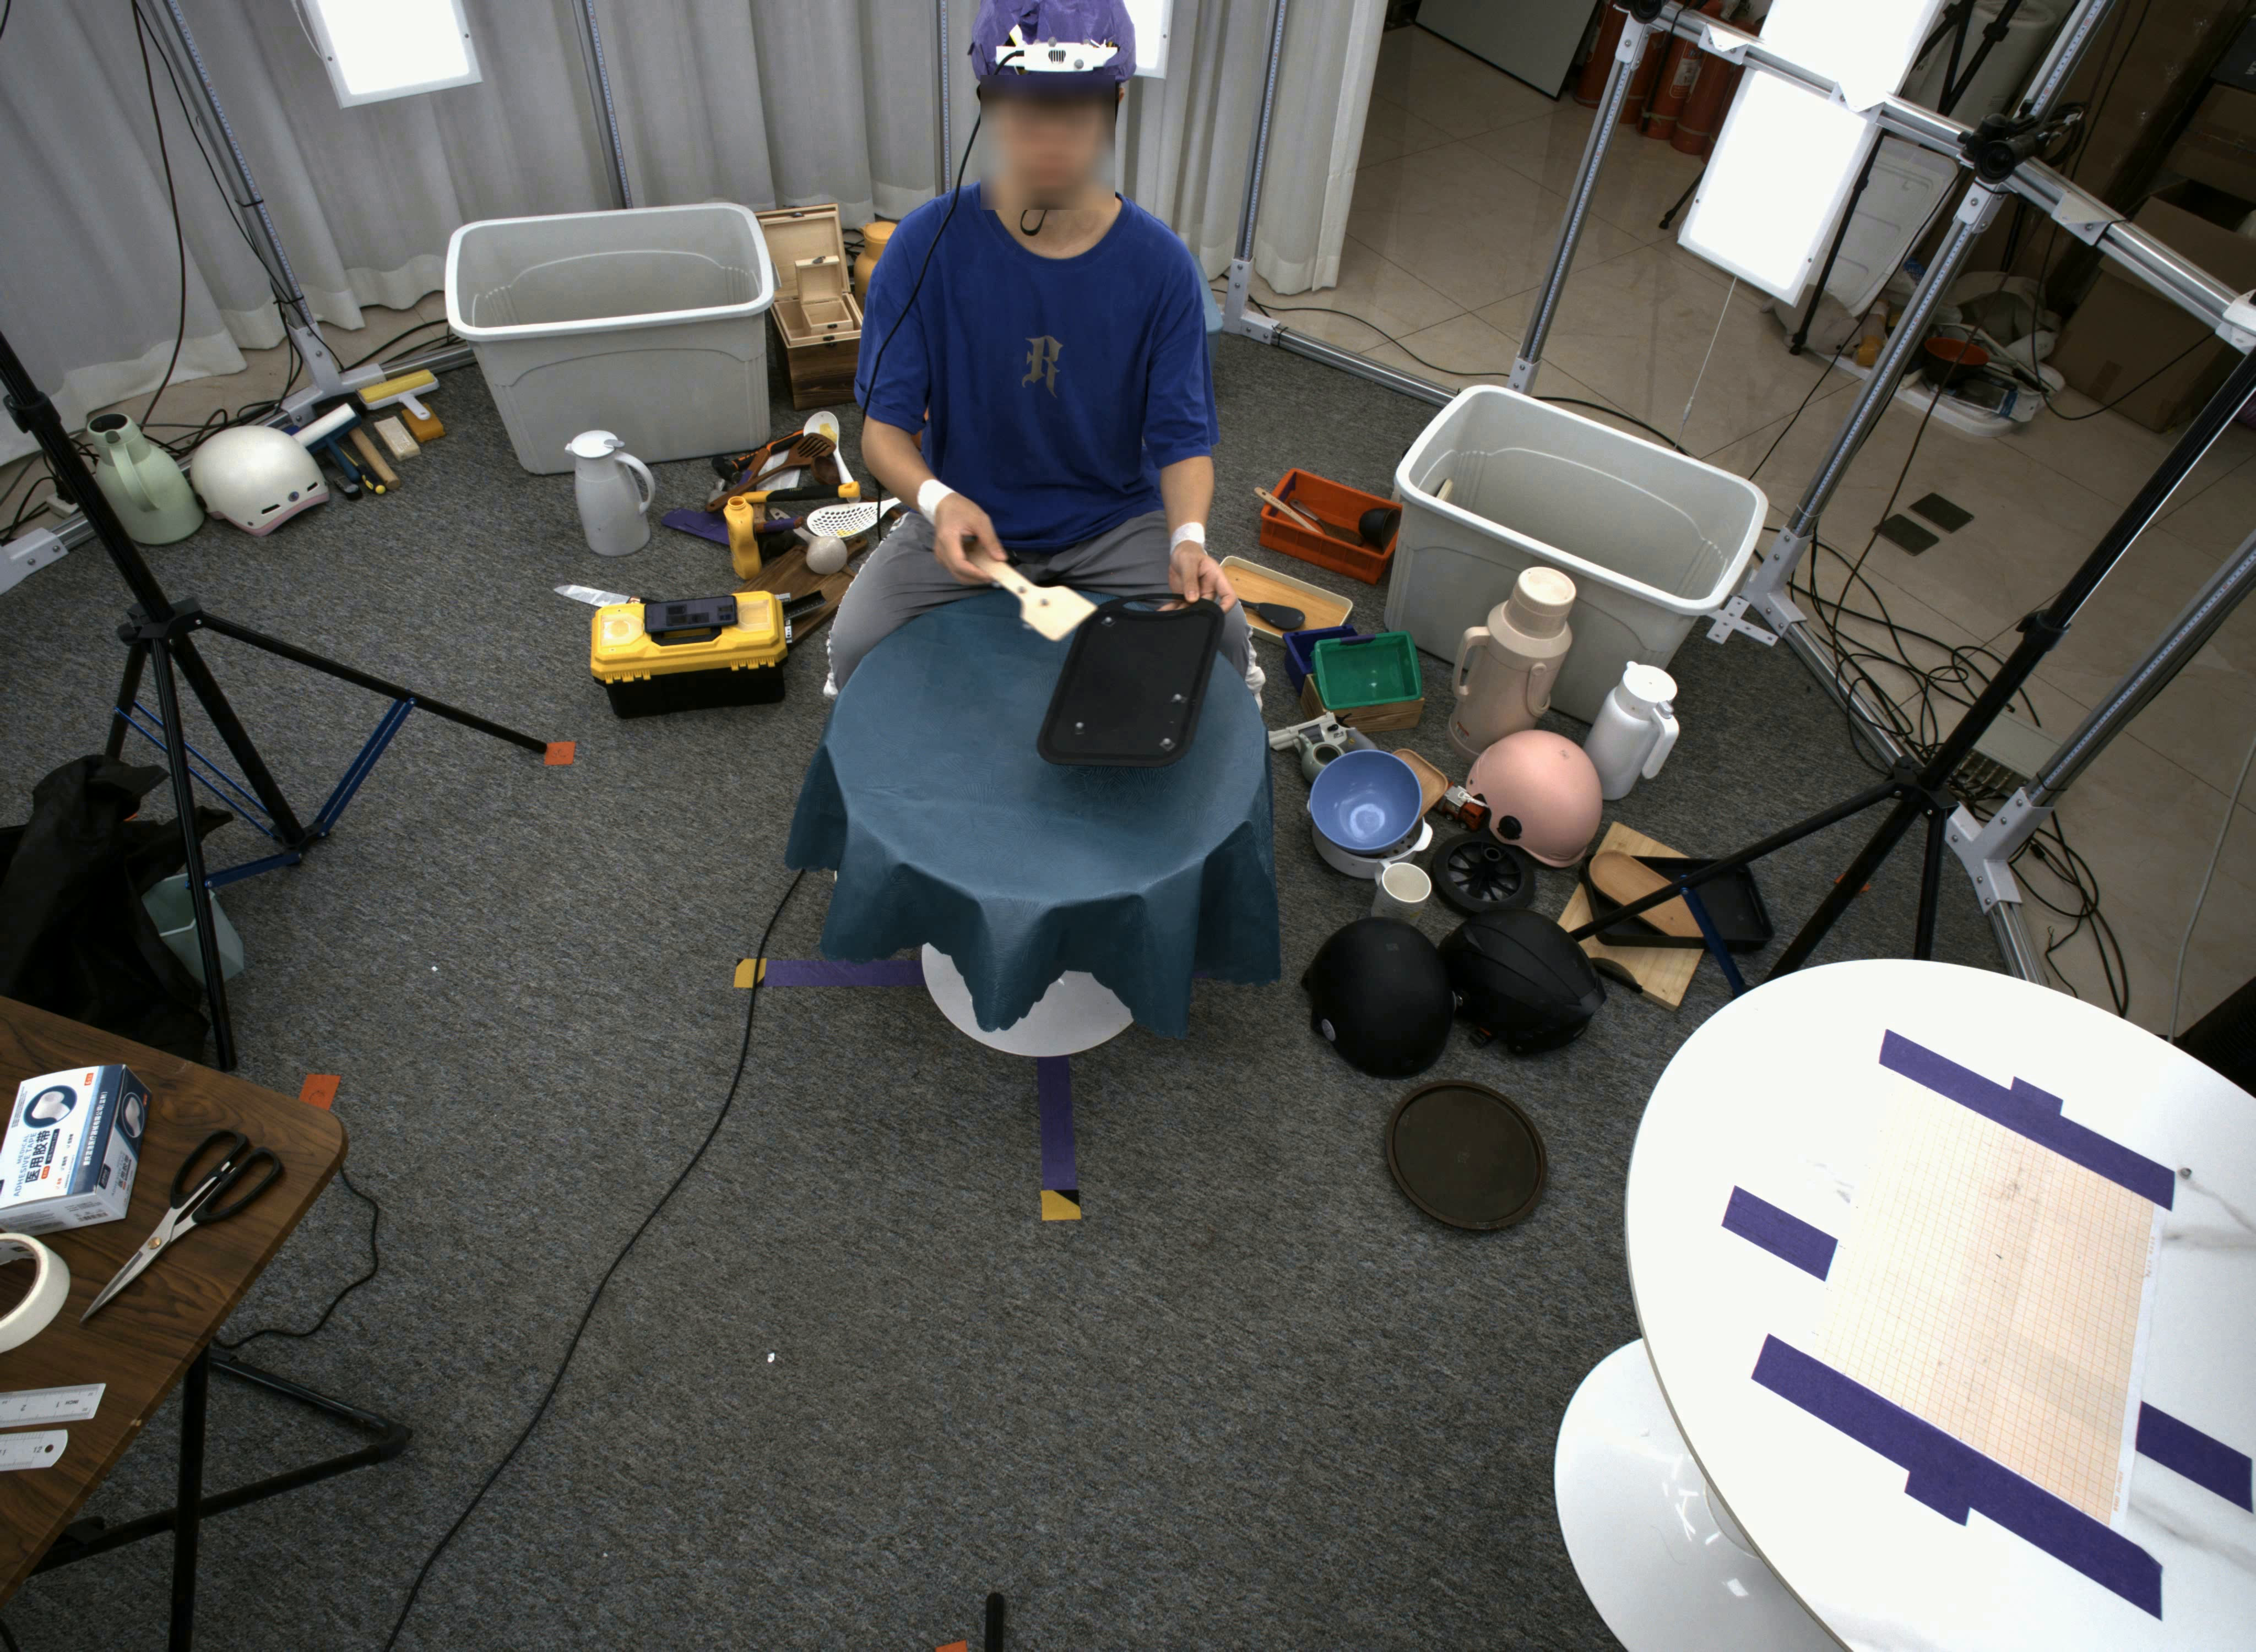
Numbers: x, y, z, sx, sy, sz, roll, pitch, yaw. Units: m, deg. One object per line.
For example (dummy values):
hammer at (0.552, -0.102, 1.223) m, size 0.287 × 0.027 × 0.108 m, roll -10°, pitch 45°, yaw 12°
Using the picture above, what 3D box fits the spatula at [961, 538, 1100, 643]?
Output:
spatula at (-0.141, -0.318, 1.693) m, size 0.072 × 0.010 × 0.299 m, roll -42°, pitch 48°, yaw -8°

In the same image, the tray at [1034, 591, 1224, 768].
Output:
tray at (0.005, -0.204, 1.708) m, size 0.212 × 0.009 × 0.332 m, roll 3°, pitch 51°, yaw 20°
